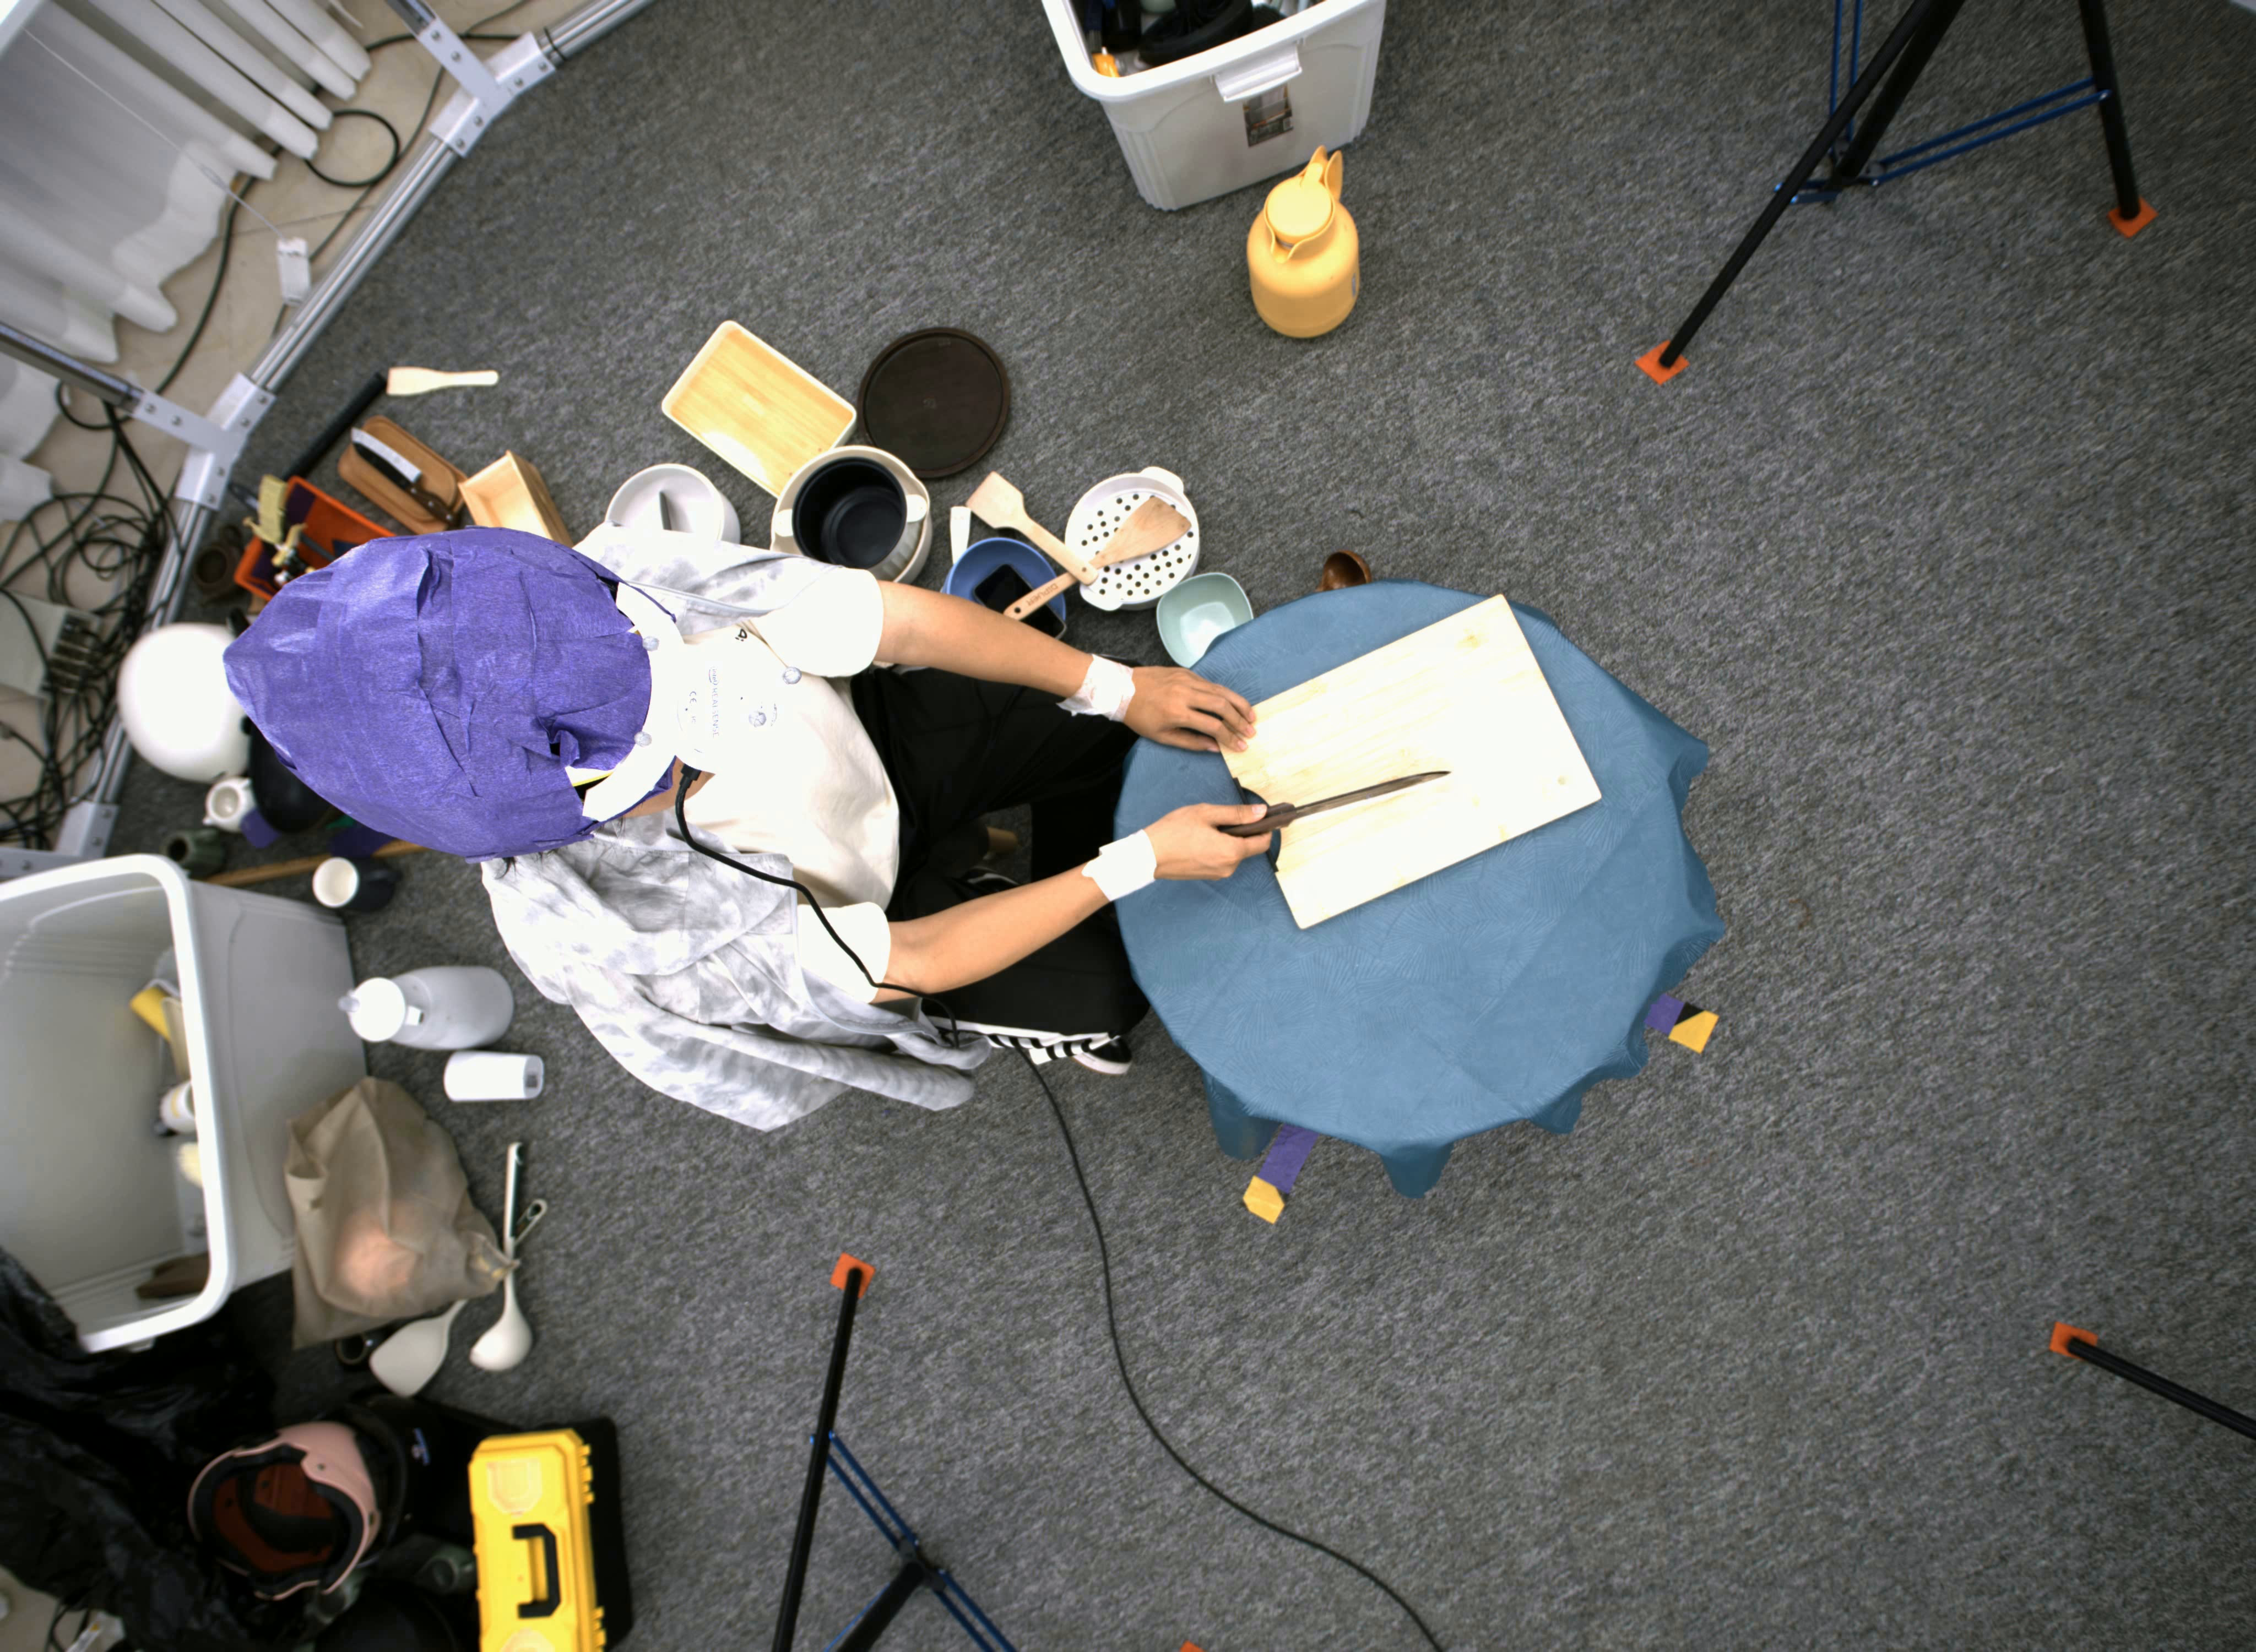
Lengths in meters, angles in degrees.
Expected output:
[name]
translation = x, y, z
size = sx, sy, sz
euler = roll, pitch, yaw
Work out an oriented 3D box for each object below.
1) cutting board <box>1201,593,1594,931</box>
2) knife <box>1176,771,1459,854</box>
[cutting board]
translation = 0.283, -0.068, 1.455
size = 0.351, 0.023, 0.249
euler = -25, 82, 9
[knife]
translation = 0.197, -0.018, 1.420
size = 0.301, 0.068, 0.023
euler = -16, 75, 6
